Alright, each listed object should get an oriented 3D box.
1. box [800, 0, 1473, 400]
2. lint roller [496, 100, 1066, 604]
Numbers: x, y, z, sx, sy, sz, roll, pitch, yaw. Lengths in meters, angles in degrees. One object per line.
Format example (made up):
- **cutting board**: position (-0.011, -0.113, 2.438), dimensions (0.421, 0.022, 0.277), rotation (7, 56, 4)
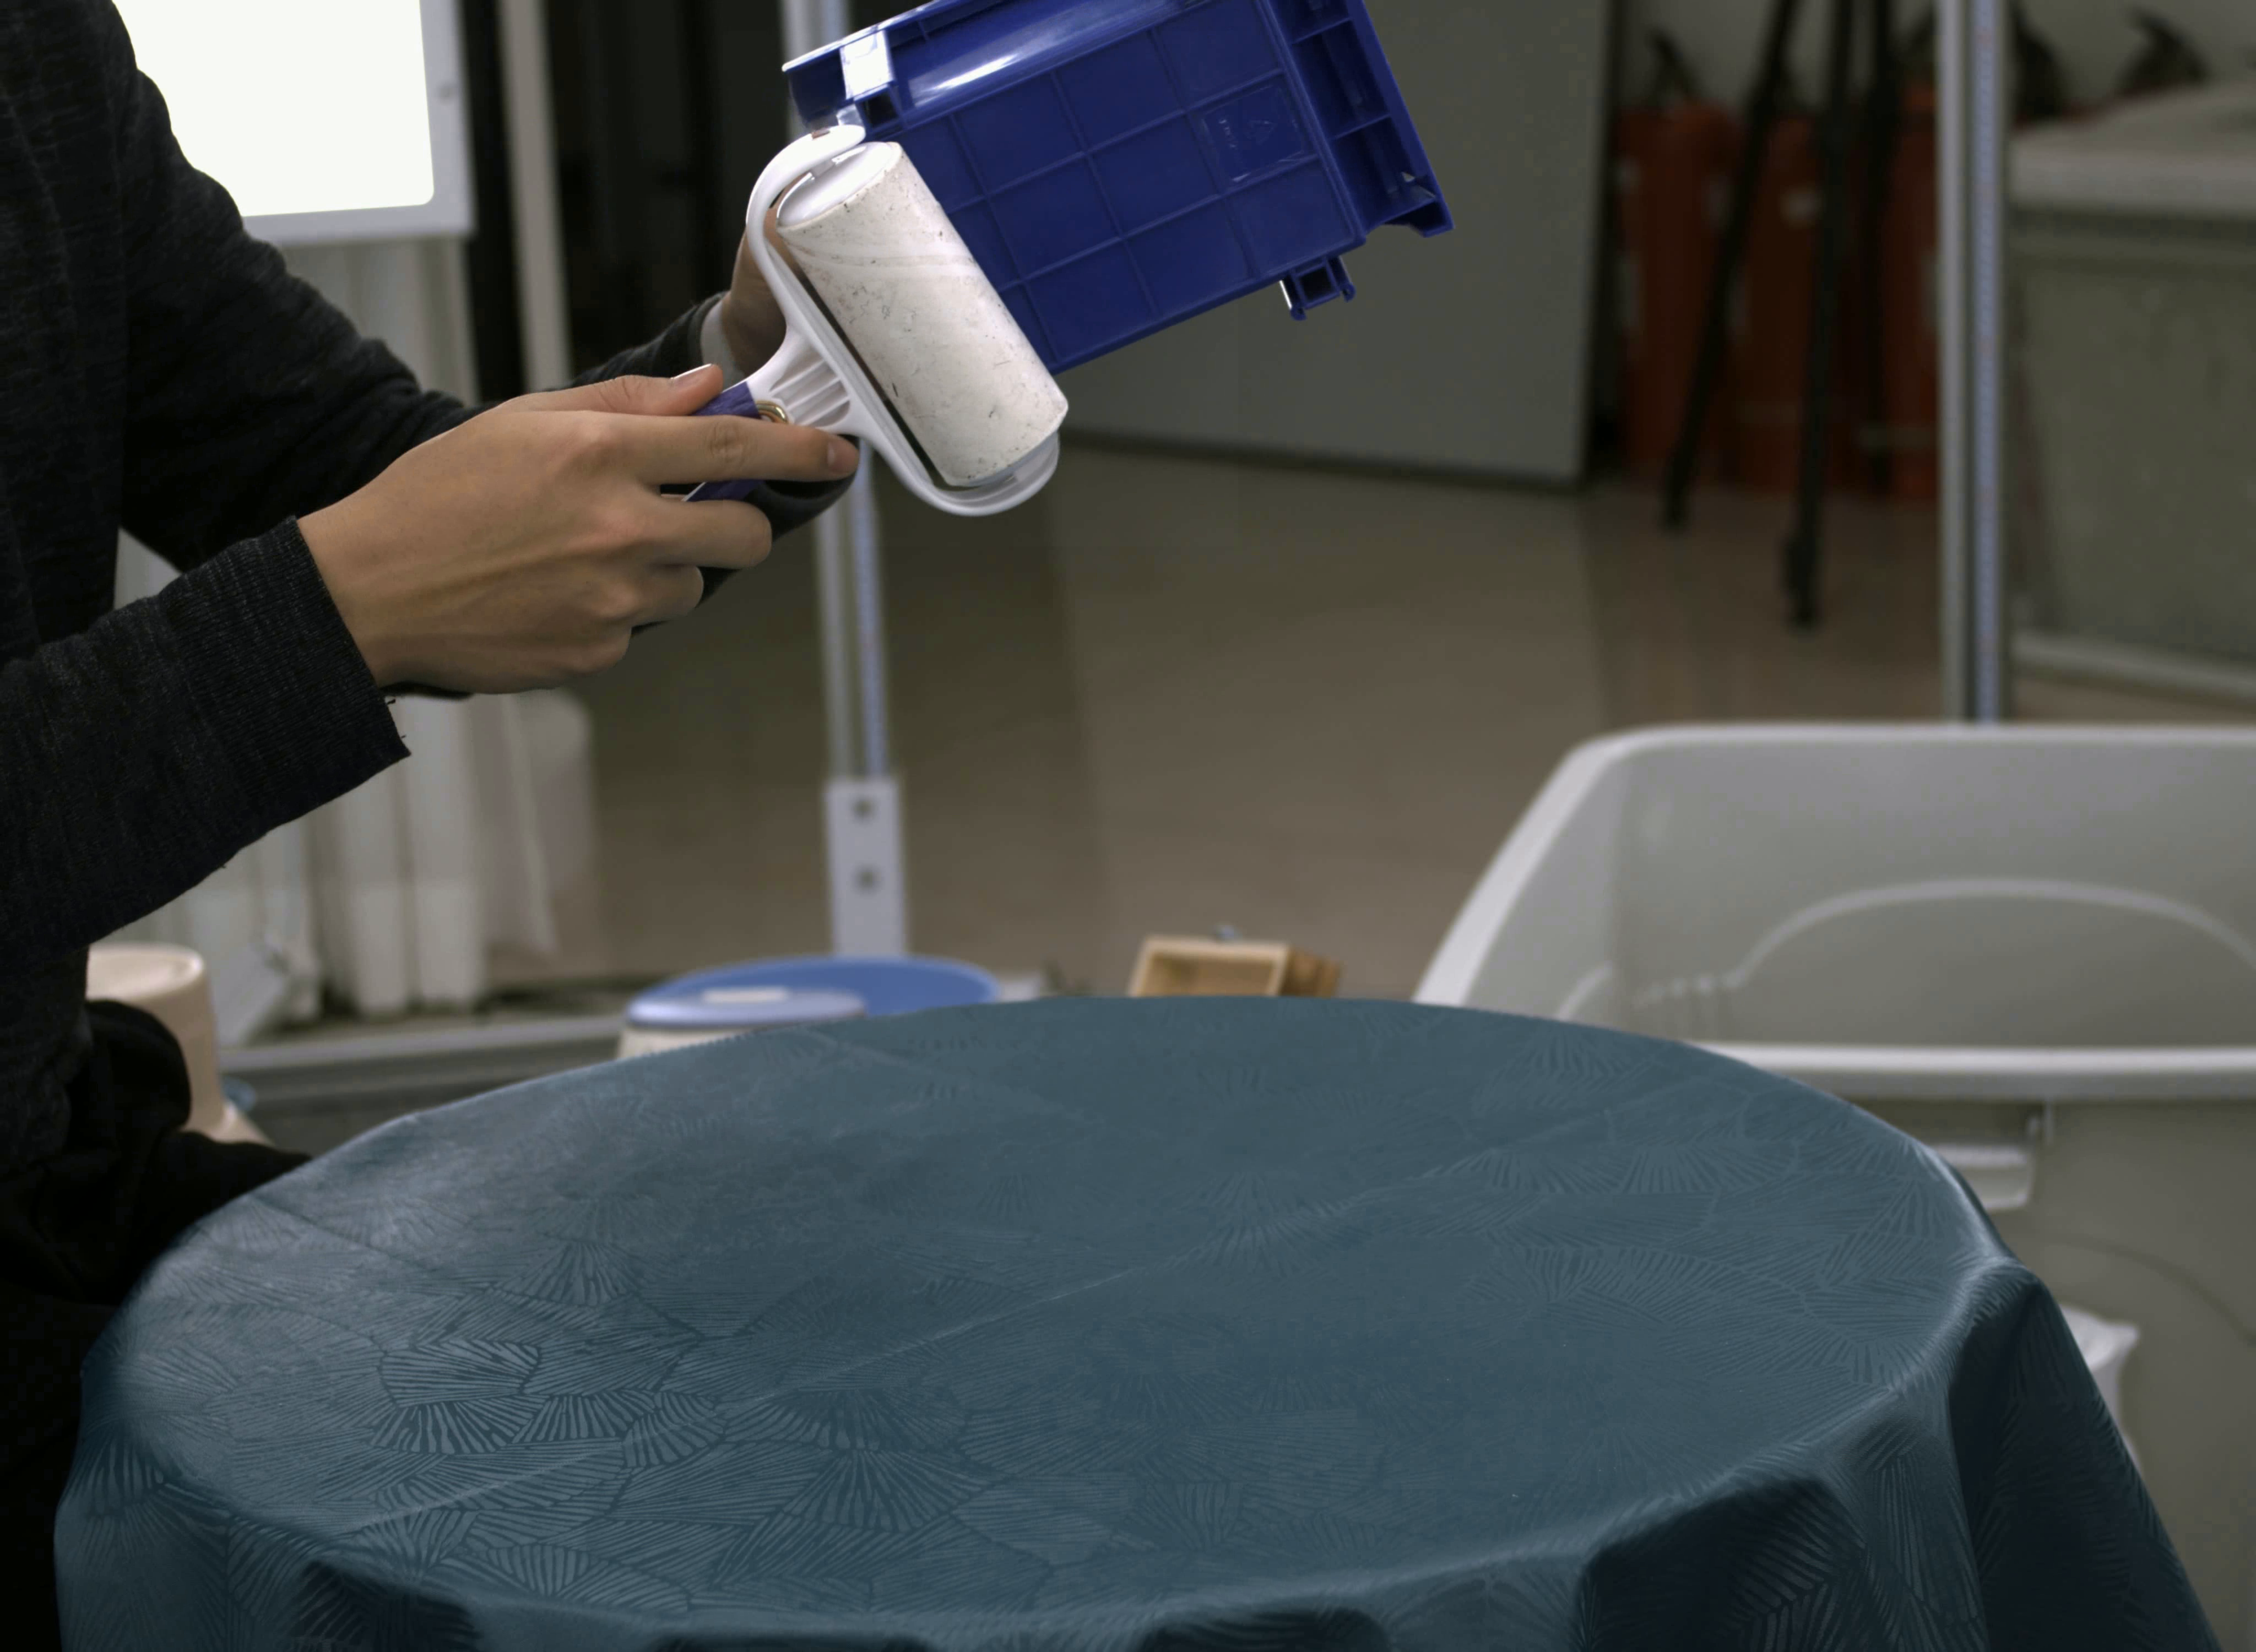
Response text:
- **box**: position (0.004, -0.222, 1.710), dimensions (0.178, 0.125, 0.082), rotation (-25, 20, 3)
- **lint roller**: position (-0.118, -0.125, 1.657), dimensions (0.179, 0.132, 0.050), rotation (-35, 21, -5)
